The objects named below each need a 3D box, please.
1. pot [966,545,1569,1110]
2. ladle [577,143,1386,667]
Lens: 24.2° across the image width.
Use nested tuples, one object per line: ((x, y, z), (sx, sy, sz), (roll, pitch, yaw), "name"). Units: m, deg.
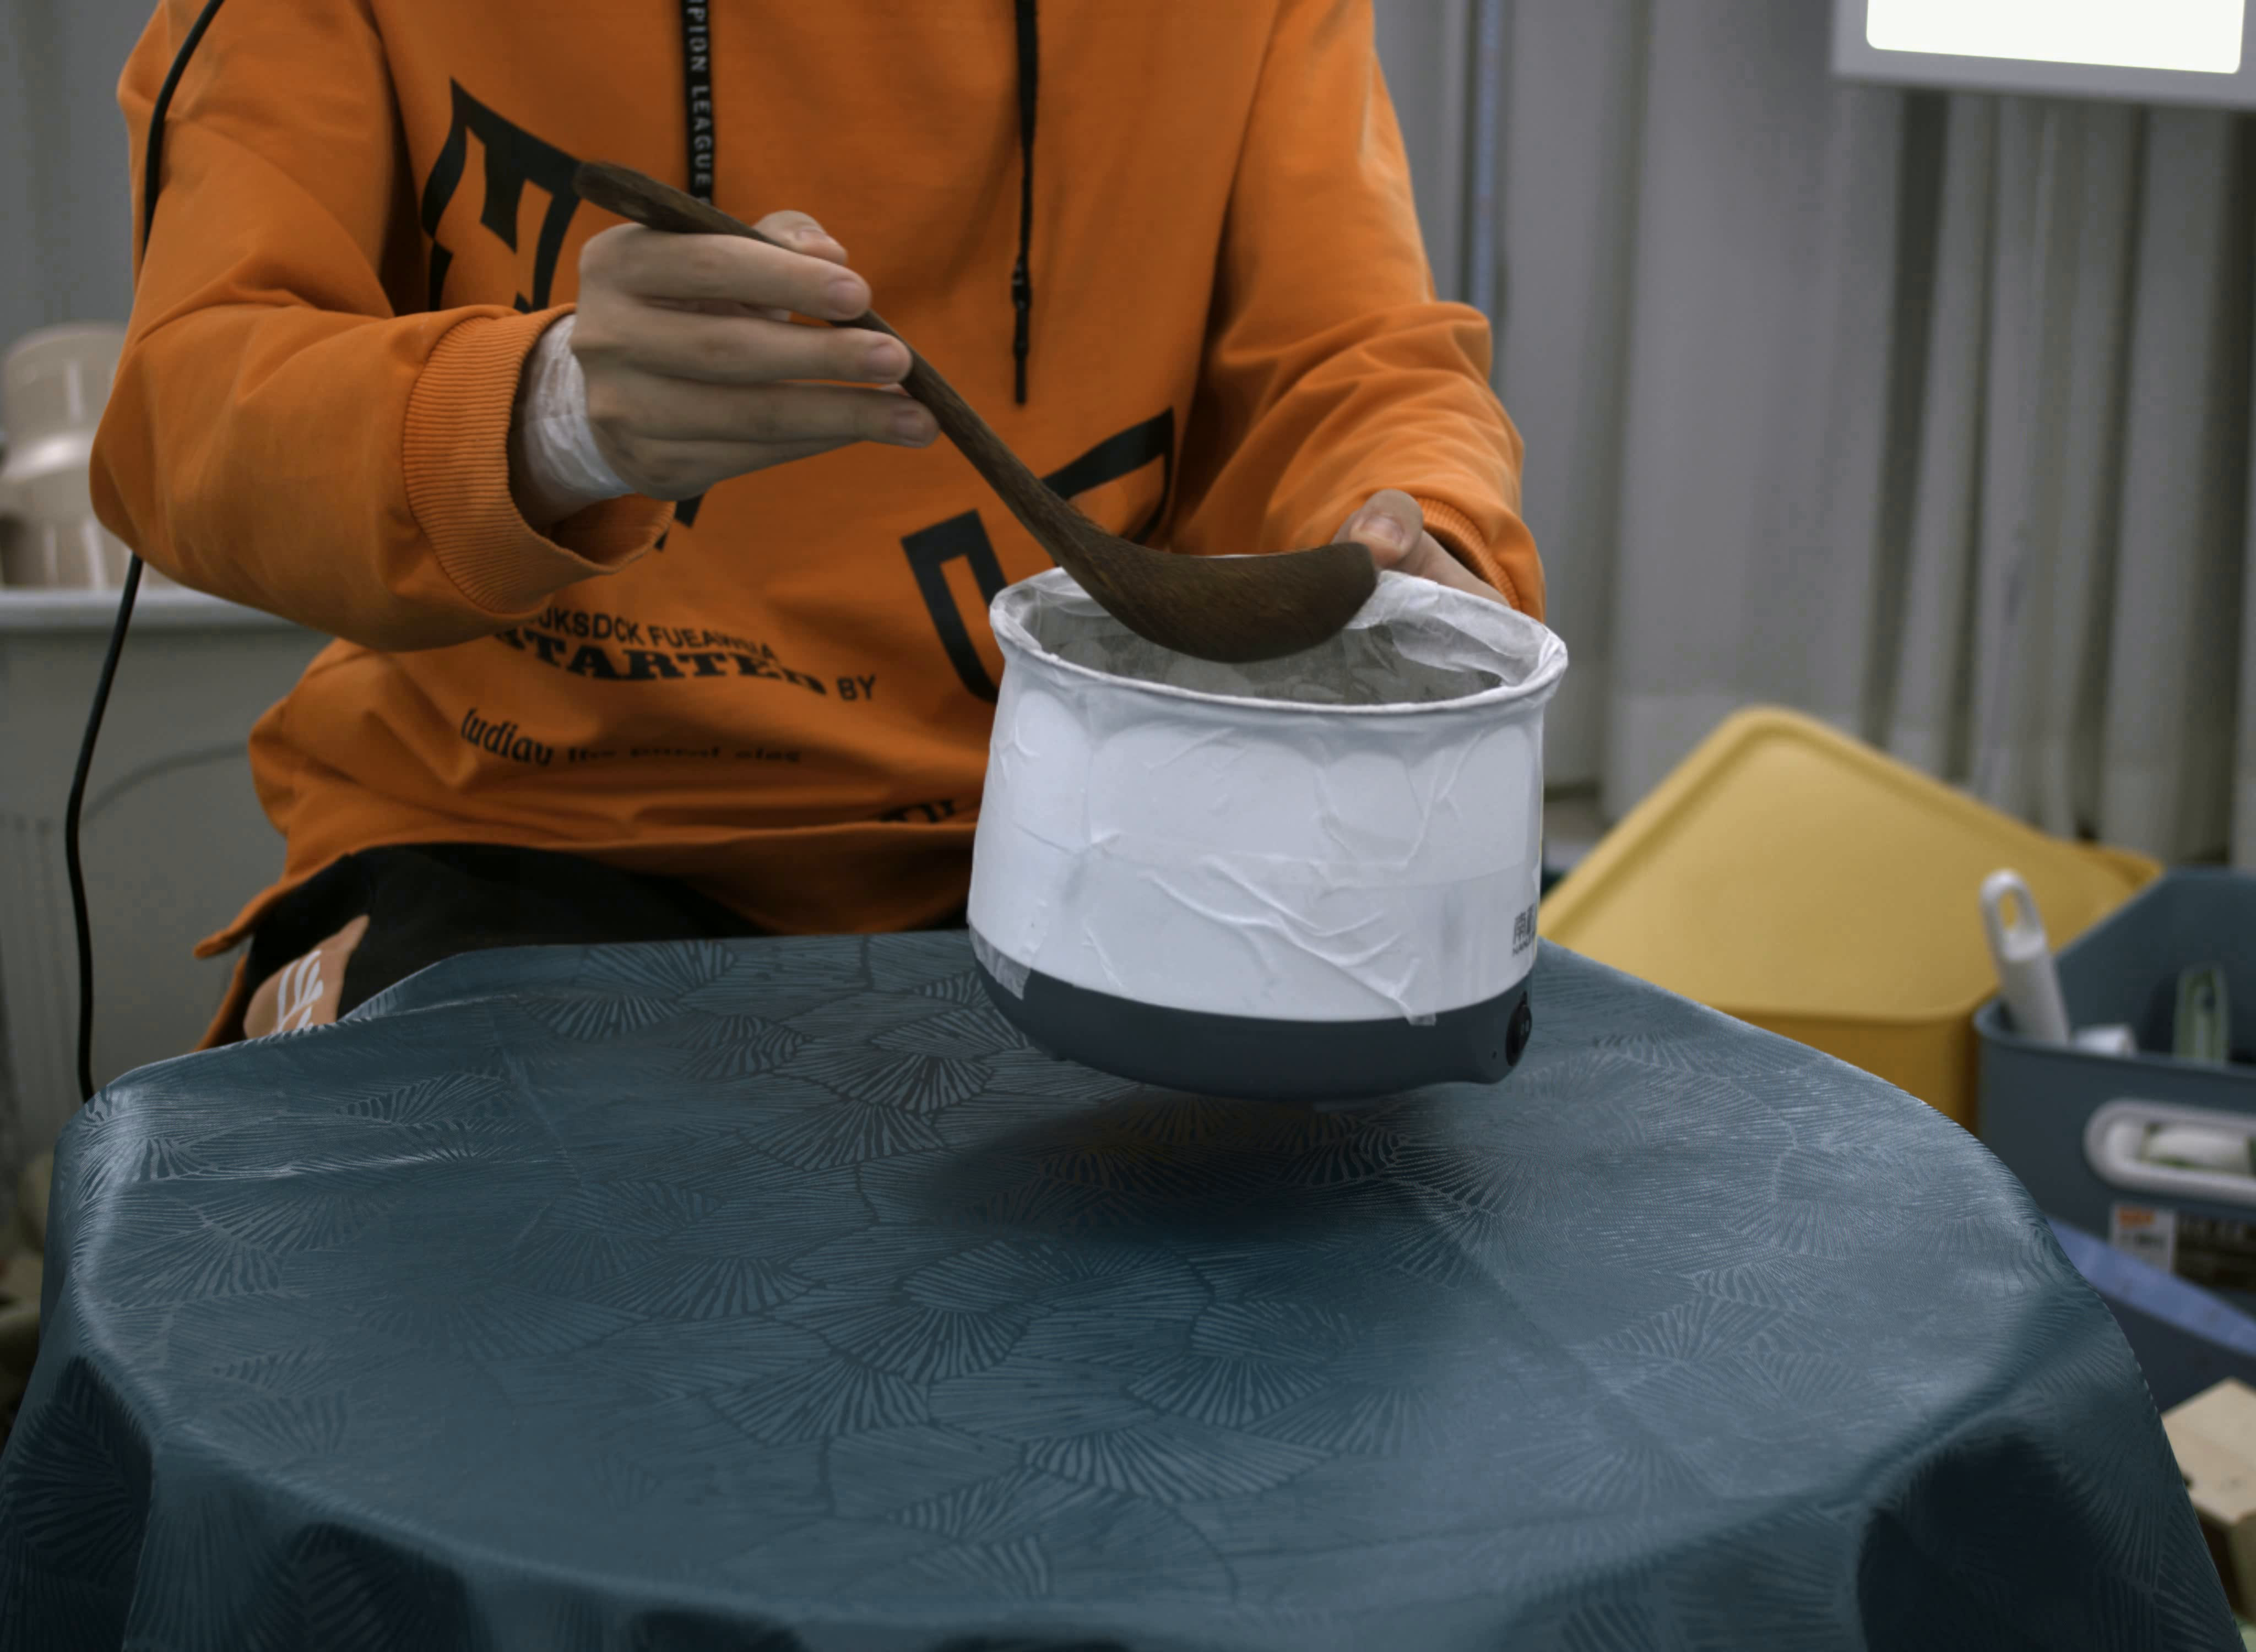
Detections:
((0.049, -0.007, 1.643), (0.177, 0.137, 0.234), (10, 18, 15), "pot")
((-0.042, -0.142, 1.622), (0.274, 0.071, 0.076), (39, -20, -2), "ladle")
